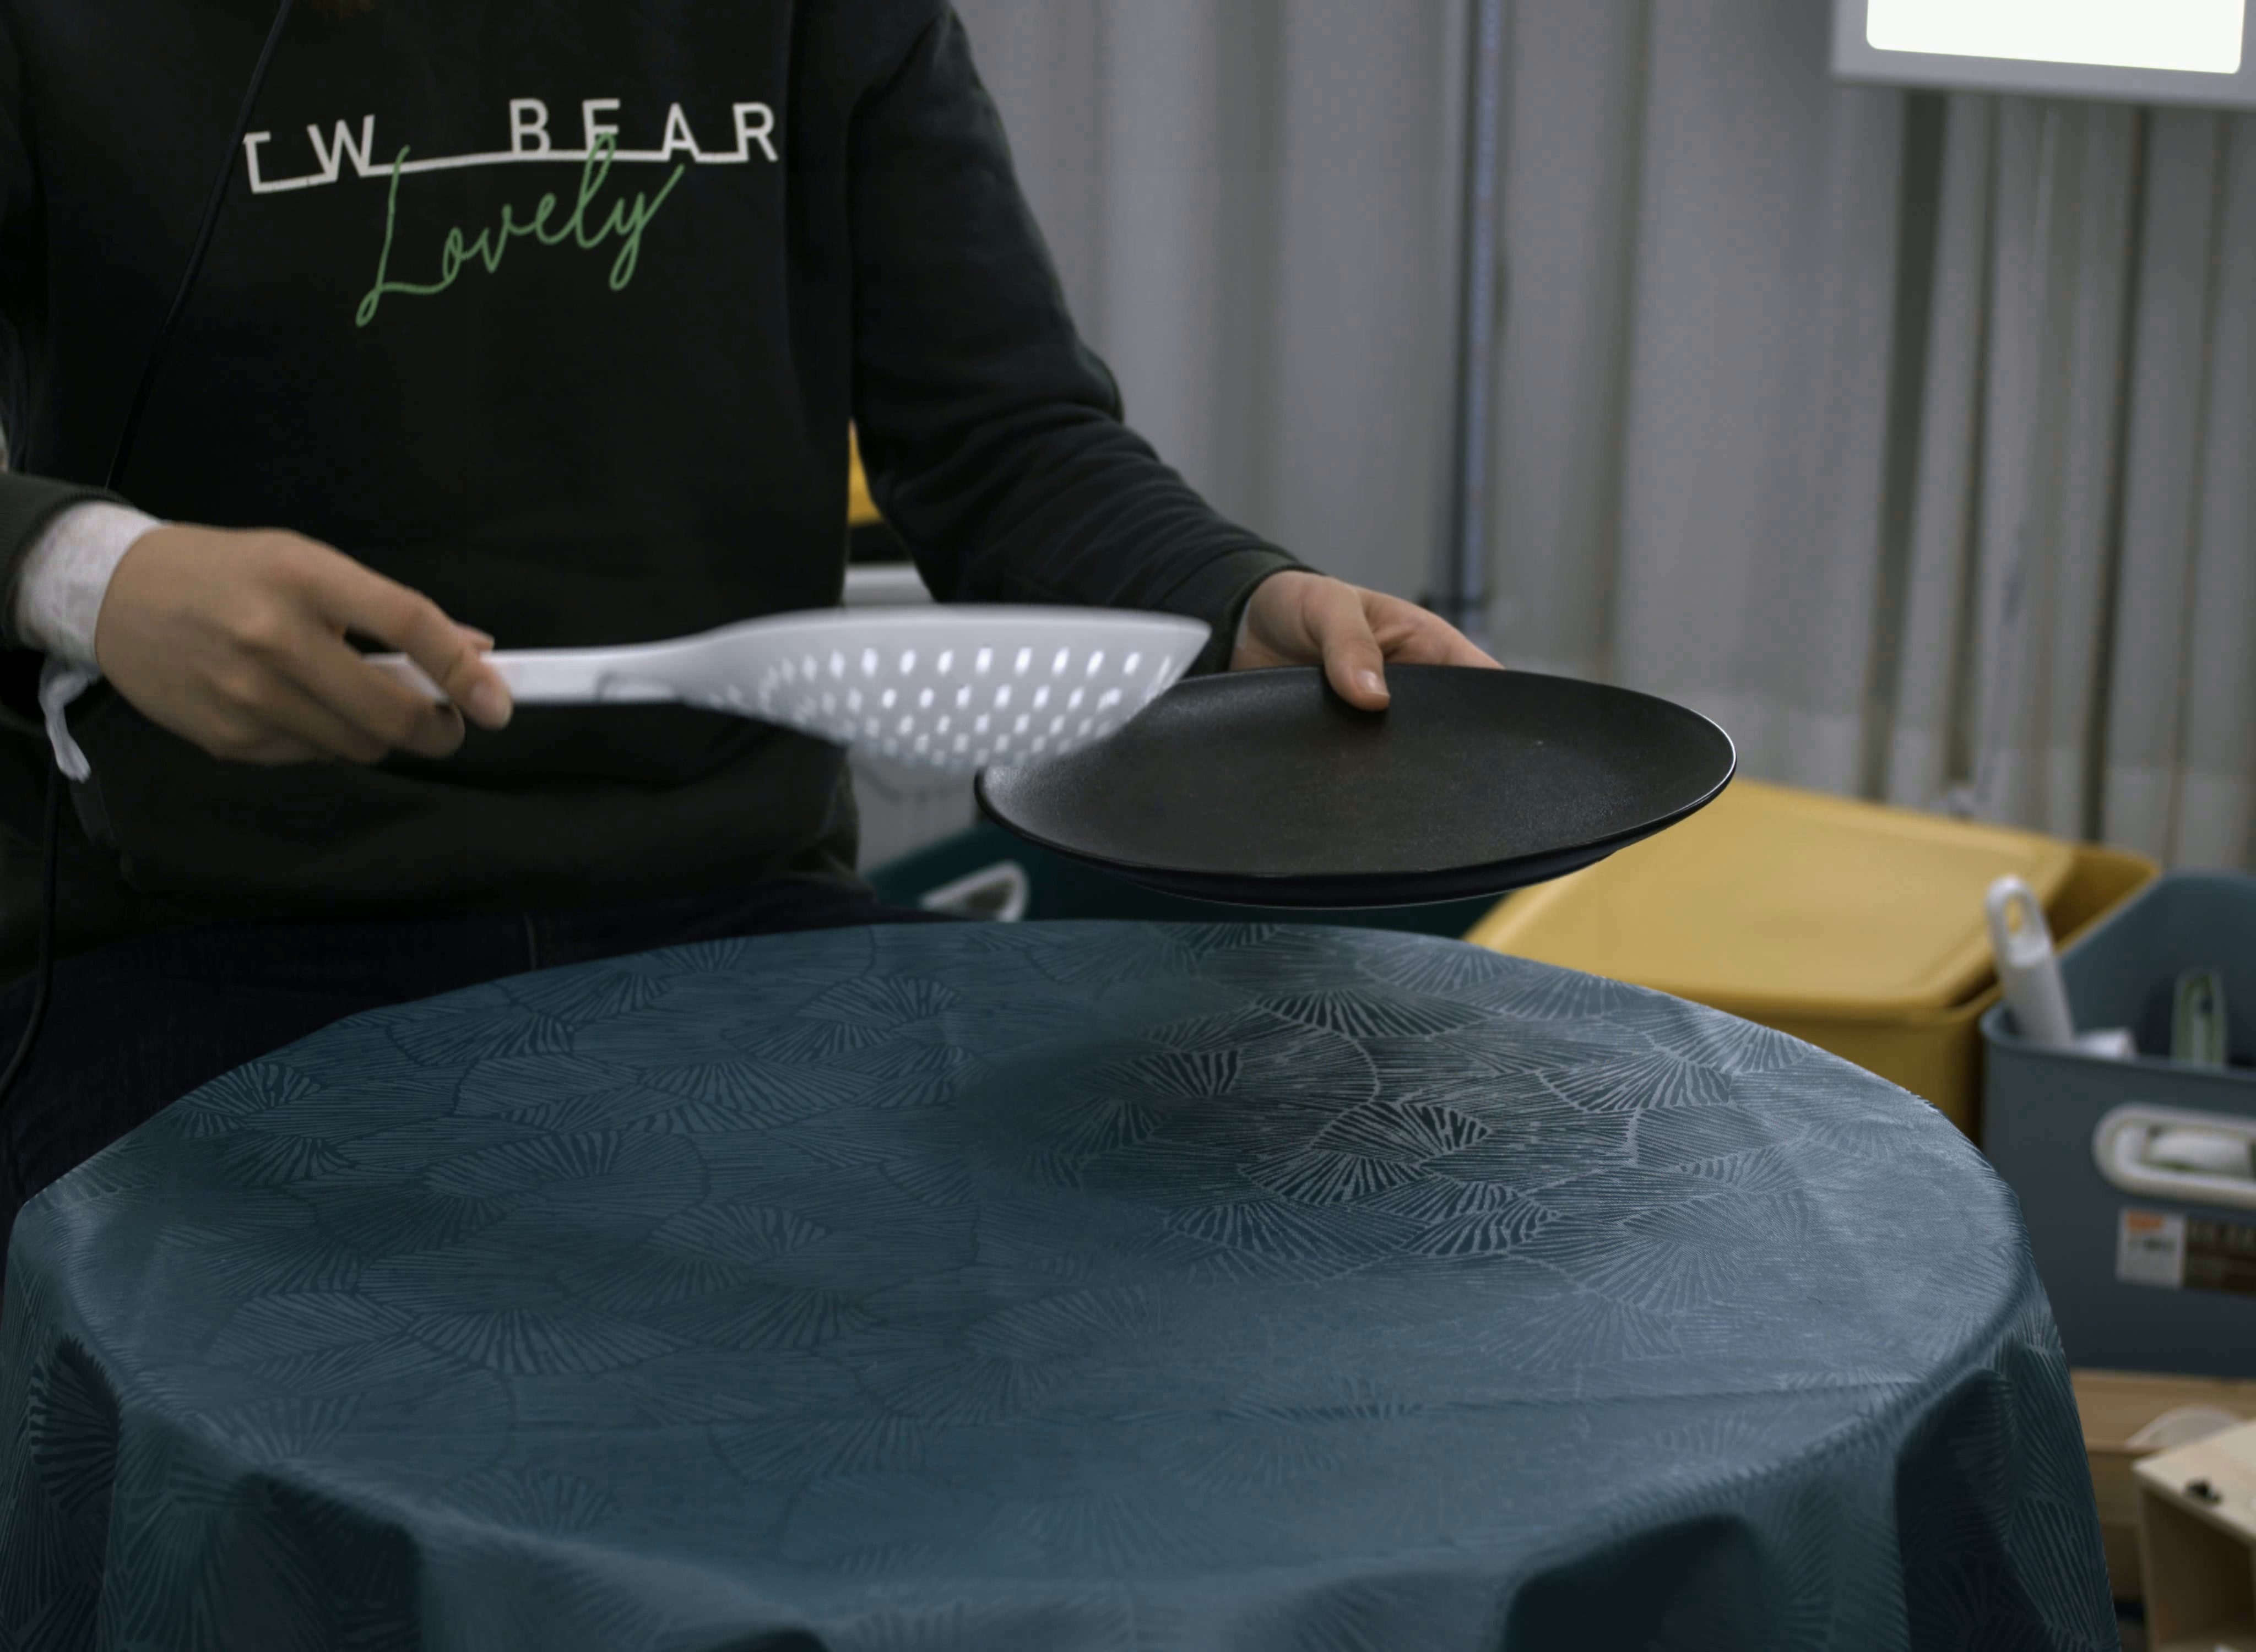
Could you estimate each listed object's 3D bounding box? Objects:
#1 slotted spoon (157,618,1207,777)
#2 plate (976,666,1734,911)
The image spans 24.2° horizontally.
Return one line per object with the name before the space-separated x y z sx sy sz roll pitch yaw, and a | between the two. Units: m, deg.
slotted spoon | -0.140 -0.044 1.544 0.346 0.046 0.137 4 0 27
plate | 0.073 -0.011 1.688 0.243 0.023 0.243 -2 17 1
